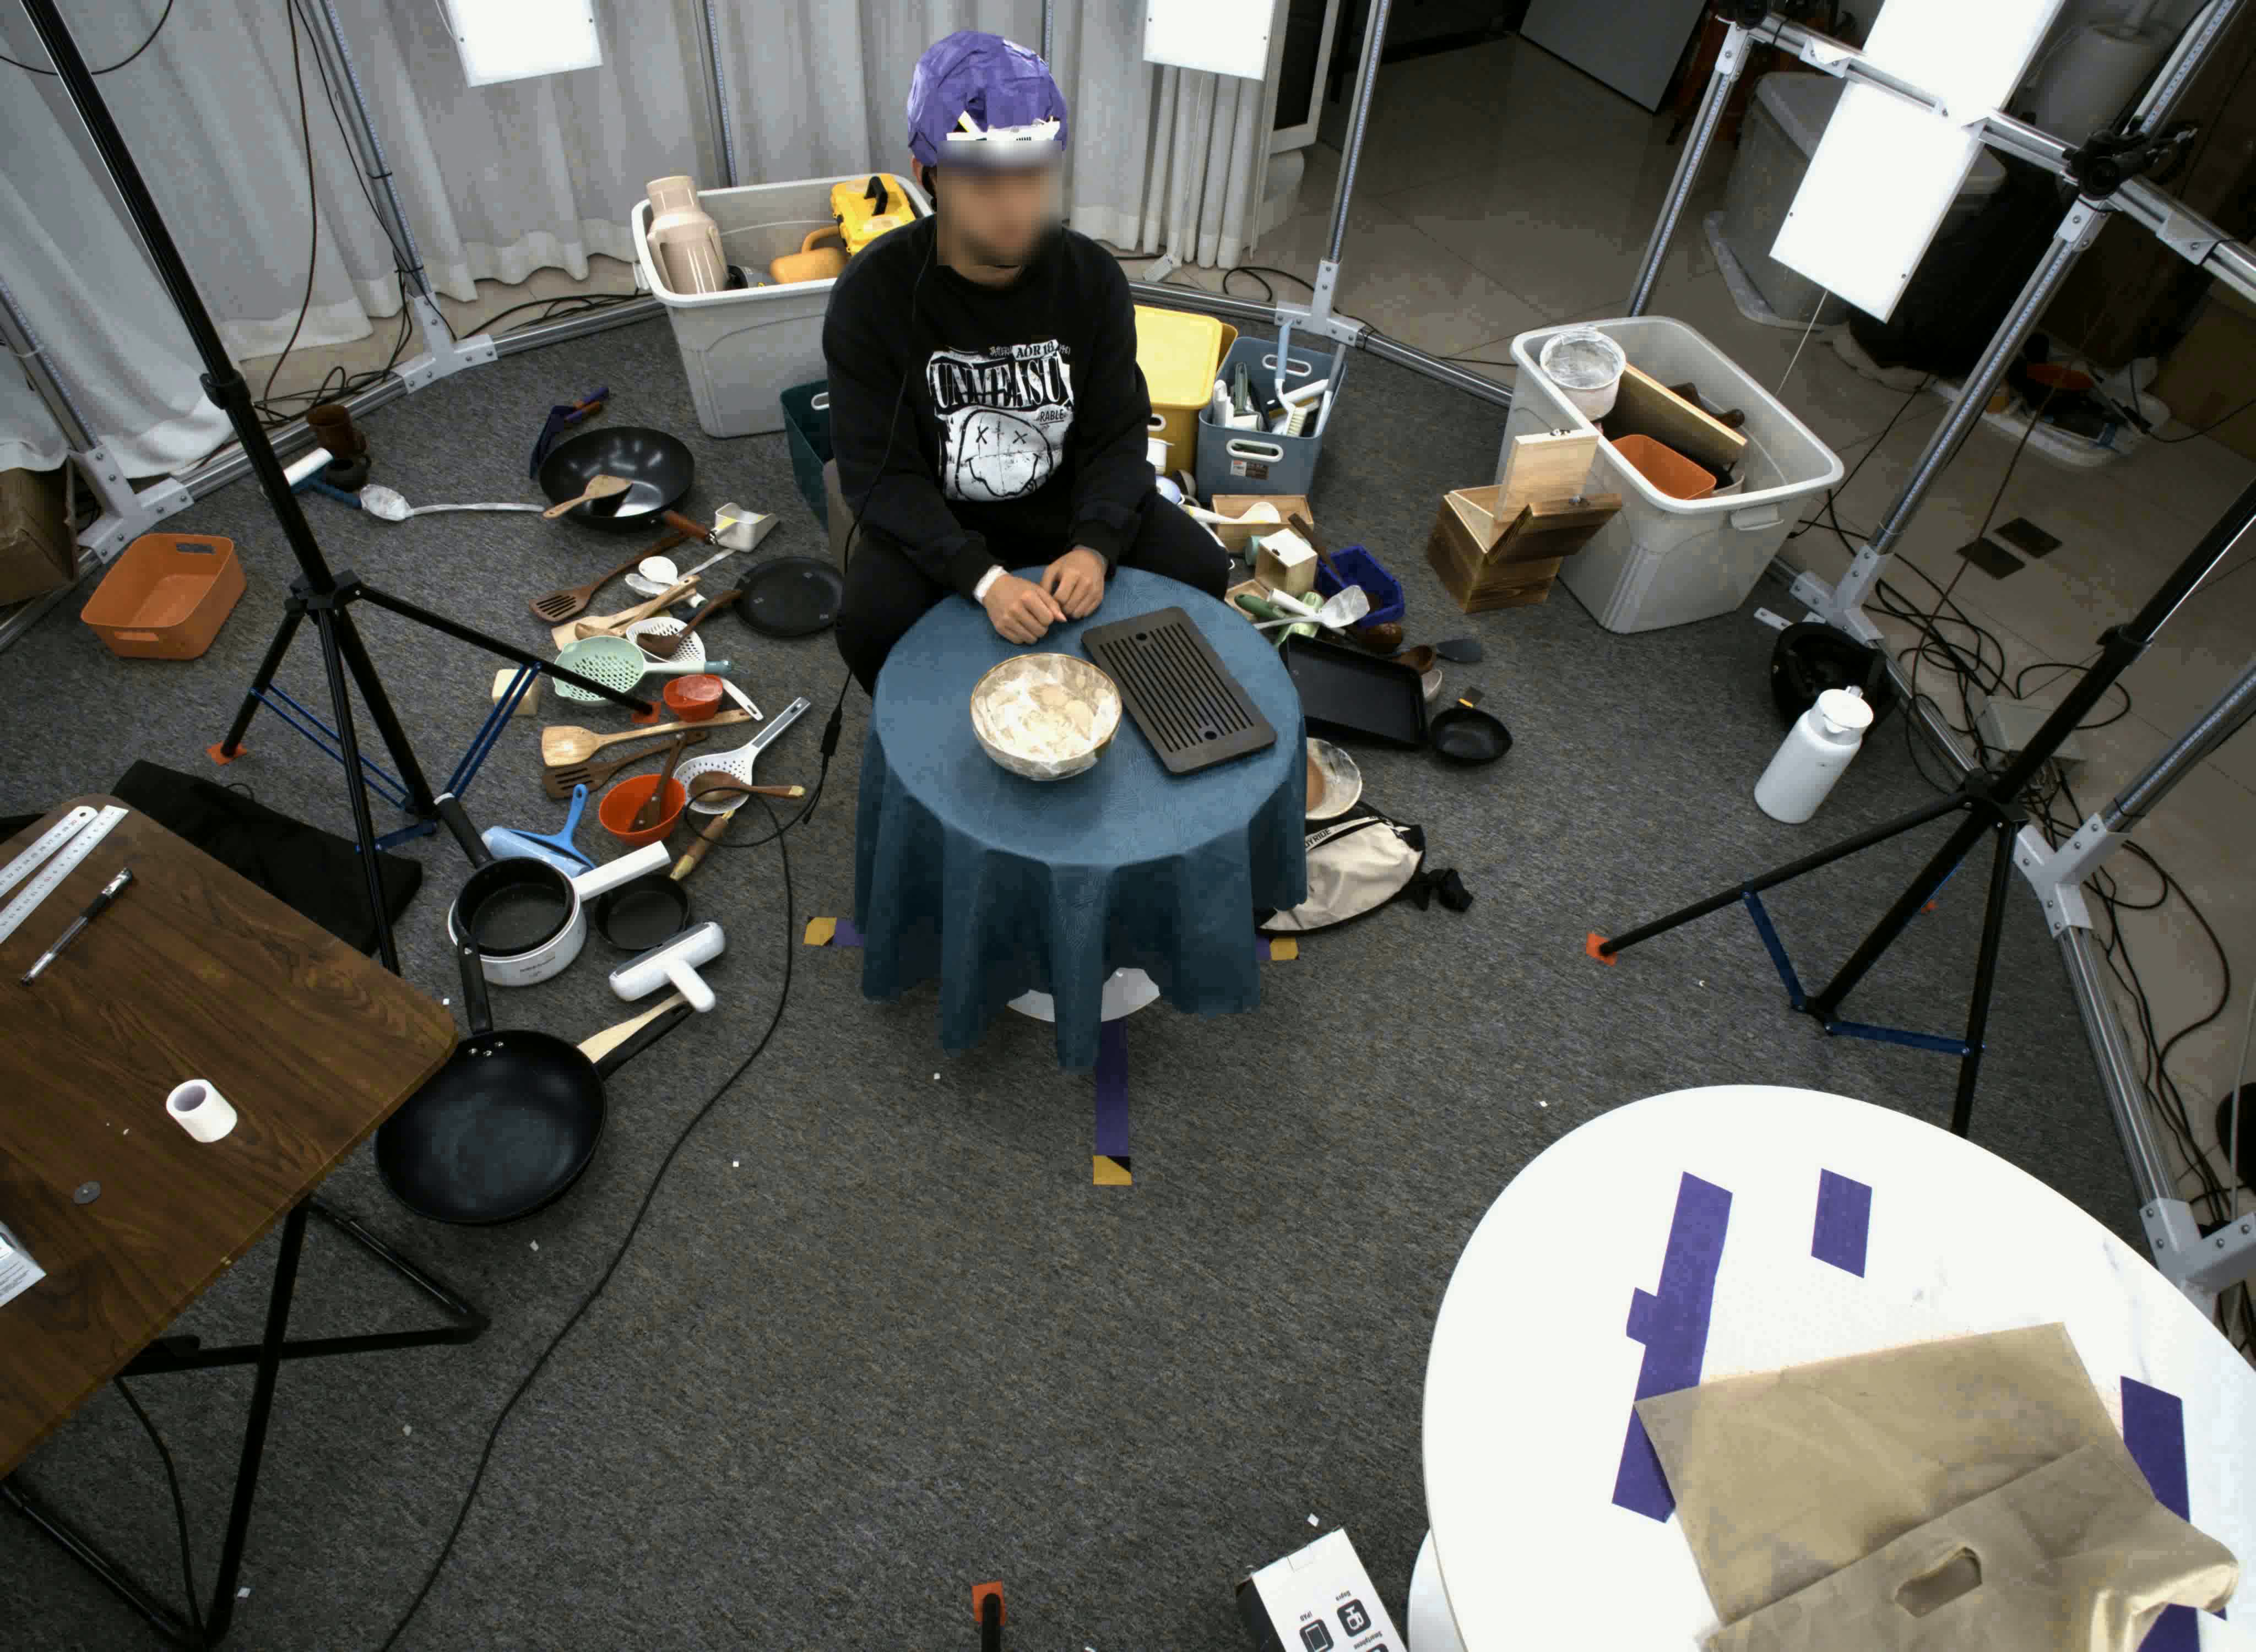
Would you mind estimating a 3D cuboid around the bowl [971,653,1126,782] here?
[{"bbox_3d":[-0.106,-0.133,1.733,0.214,0.092,0.220,1,48,-2],"label":"bowl"}]

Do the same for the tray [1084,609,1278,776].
[{"bbox_3d":[0.072,-0.197,1.849,0.170,0.018,0.313,-18,52,-19],"label":"tray"}]
